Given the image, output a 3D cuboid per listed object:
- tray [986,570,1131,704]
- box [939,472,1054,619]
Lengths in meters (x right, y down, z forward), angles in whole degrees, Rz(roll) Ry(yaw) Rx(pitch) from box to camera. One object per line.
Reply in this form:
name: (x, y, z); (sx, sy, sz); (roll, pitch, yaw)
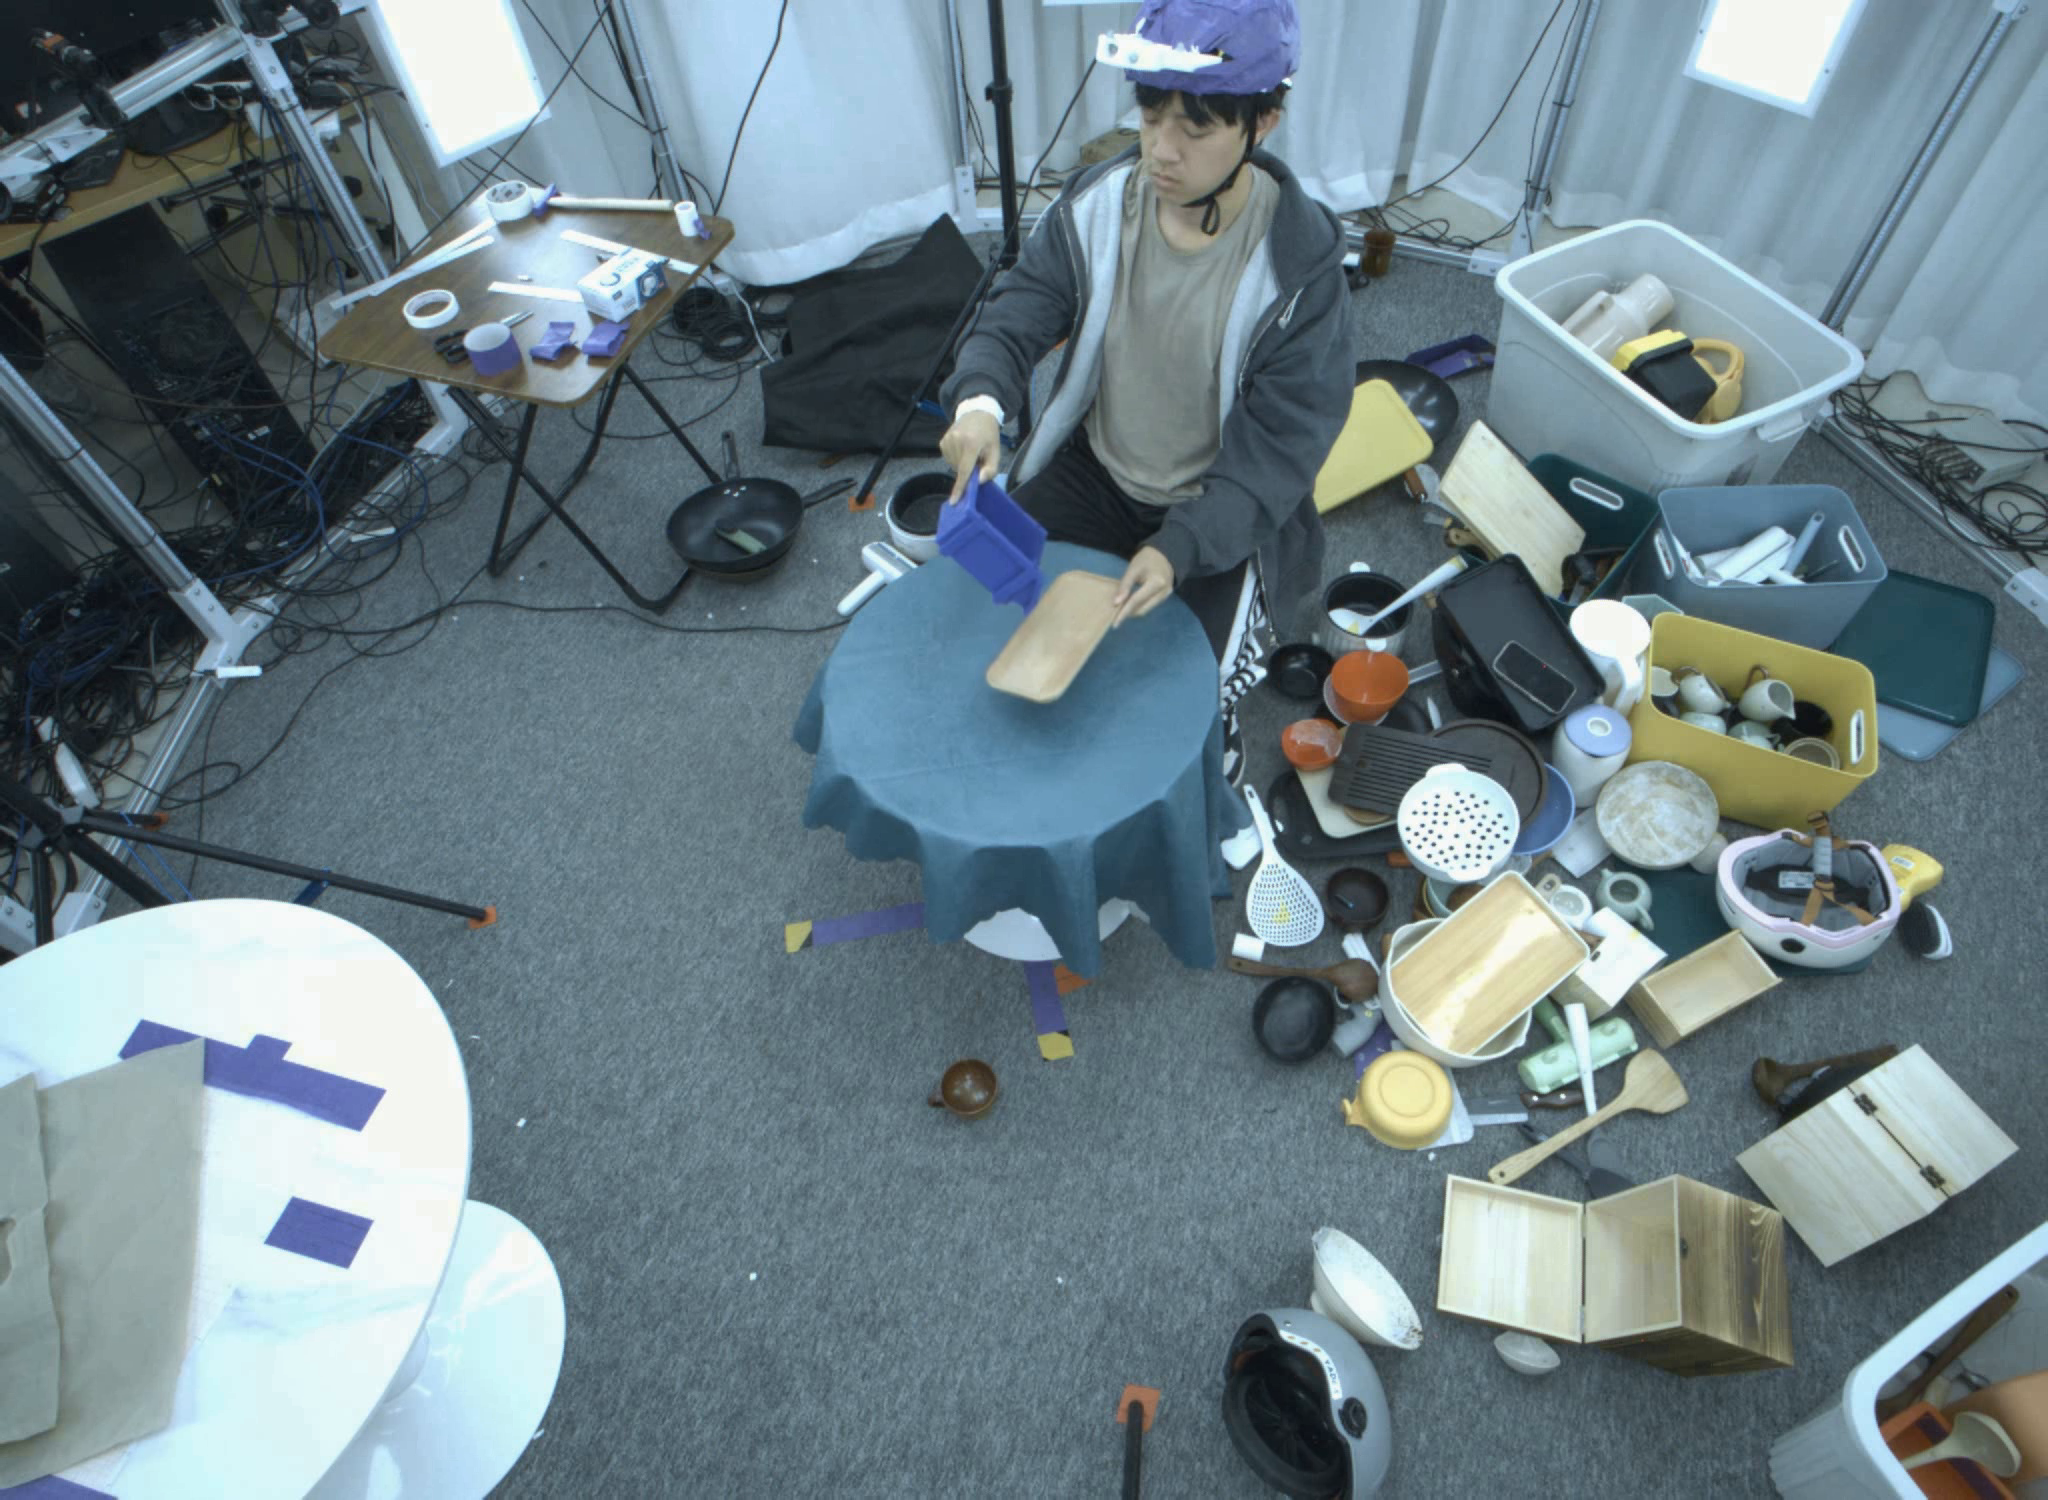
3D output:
tray: (0.052, -0.168, 1.799); (0.128, 0.023, 0.251); (21, 59, 26)
box: (-0.031, -0.284, 1.723); (0.183, 0.081, 0.123); (37, 34, -25)
